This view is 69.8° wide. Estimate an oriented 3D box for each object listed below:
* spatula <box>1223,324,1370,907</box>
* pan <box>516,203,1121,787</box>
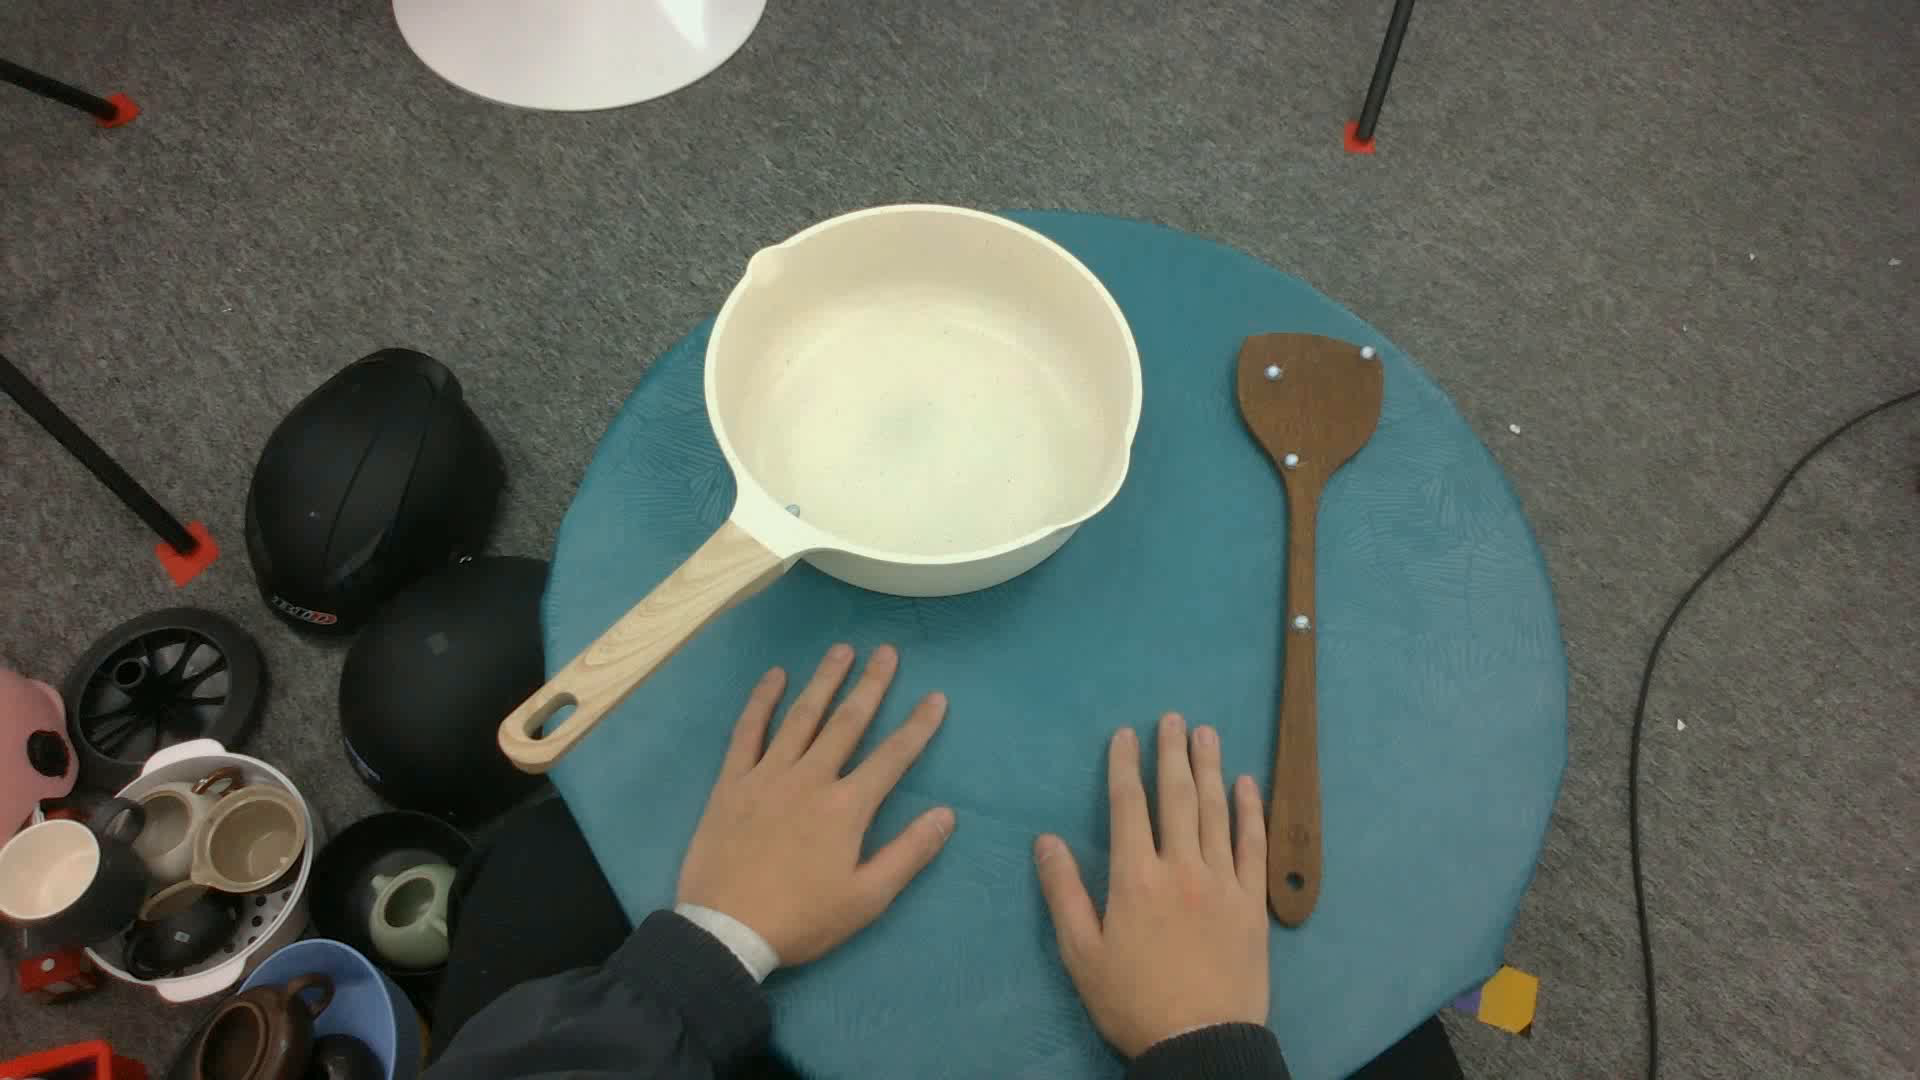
[{"bbox_3d":[0.203,0.026,0.827,0.096,0.016,0.387,6,61,2],"label":"spatula"},{"bbox_3d":[-0.086,-0.020,0.791,0.263,0.101,0.436,34,65,13],"label":"pan"}]
